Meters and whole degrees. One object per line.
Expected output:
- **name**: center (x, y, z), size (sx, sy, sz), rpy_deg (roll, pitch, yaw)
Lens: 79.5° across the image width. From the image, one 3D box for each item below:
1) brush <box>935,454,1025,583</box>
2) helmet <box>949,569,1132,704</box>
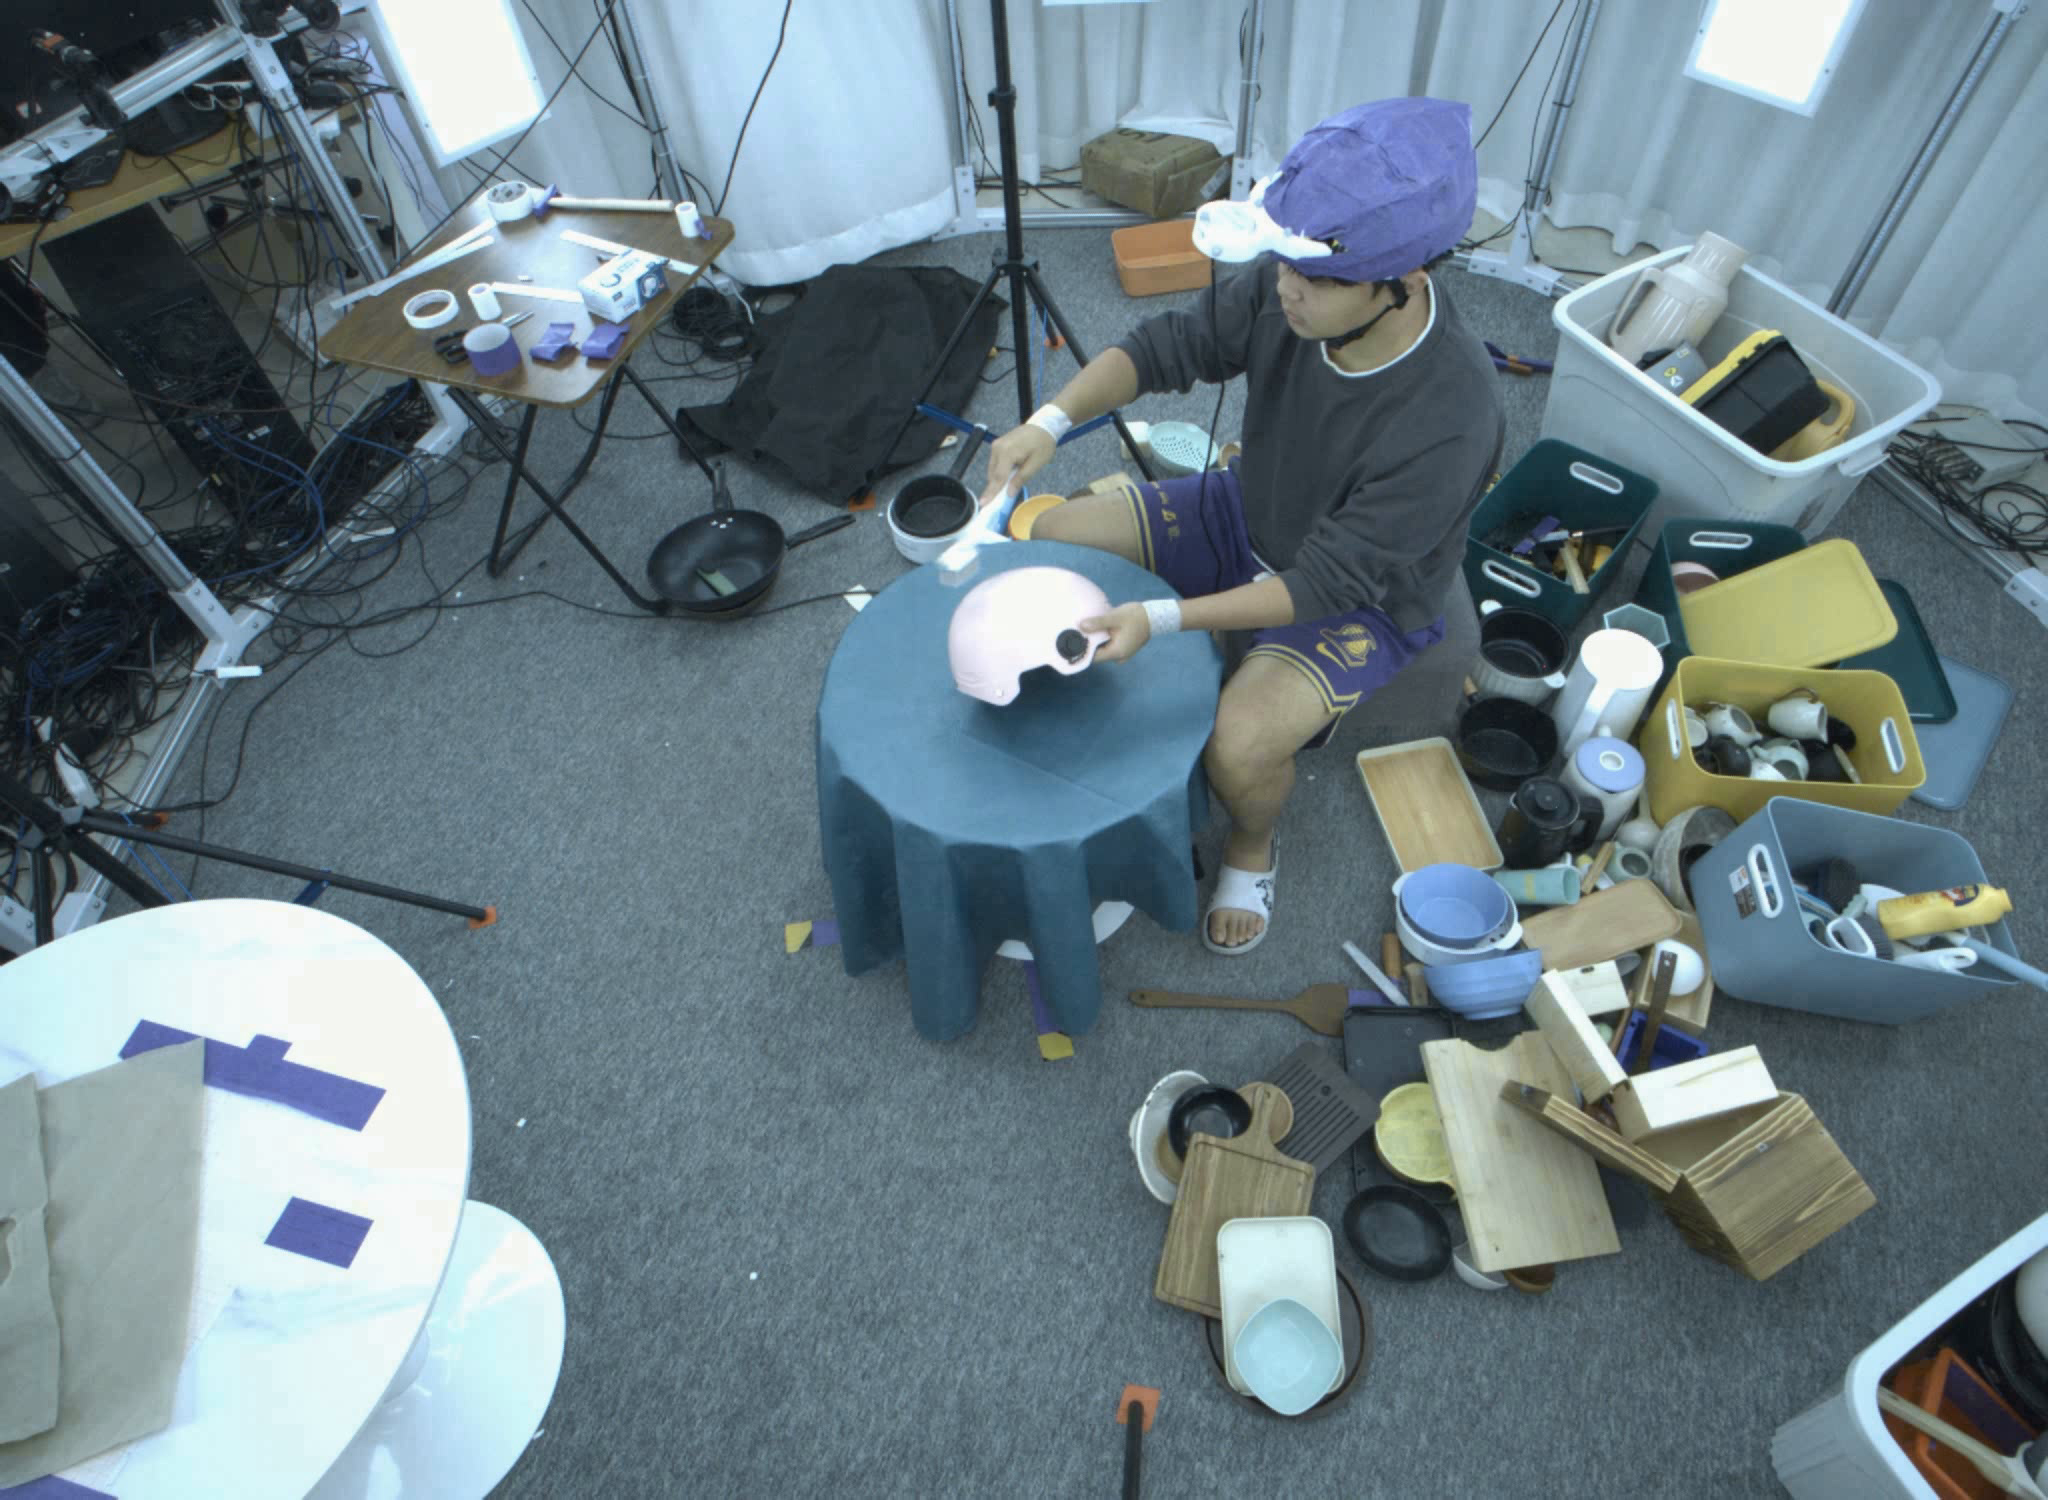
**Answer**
- **brush**: center (-0.056, -0.321, 1.697), size (0.034, 0.051, 0.244), rpy_deg (14, 56, 25)
- **helmet**: center (0.008, -0.182, 1.765), size (0.267, 0.160, 0.231), rpy_deg (-23, 15, -9)
